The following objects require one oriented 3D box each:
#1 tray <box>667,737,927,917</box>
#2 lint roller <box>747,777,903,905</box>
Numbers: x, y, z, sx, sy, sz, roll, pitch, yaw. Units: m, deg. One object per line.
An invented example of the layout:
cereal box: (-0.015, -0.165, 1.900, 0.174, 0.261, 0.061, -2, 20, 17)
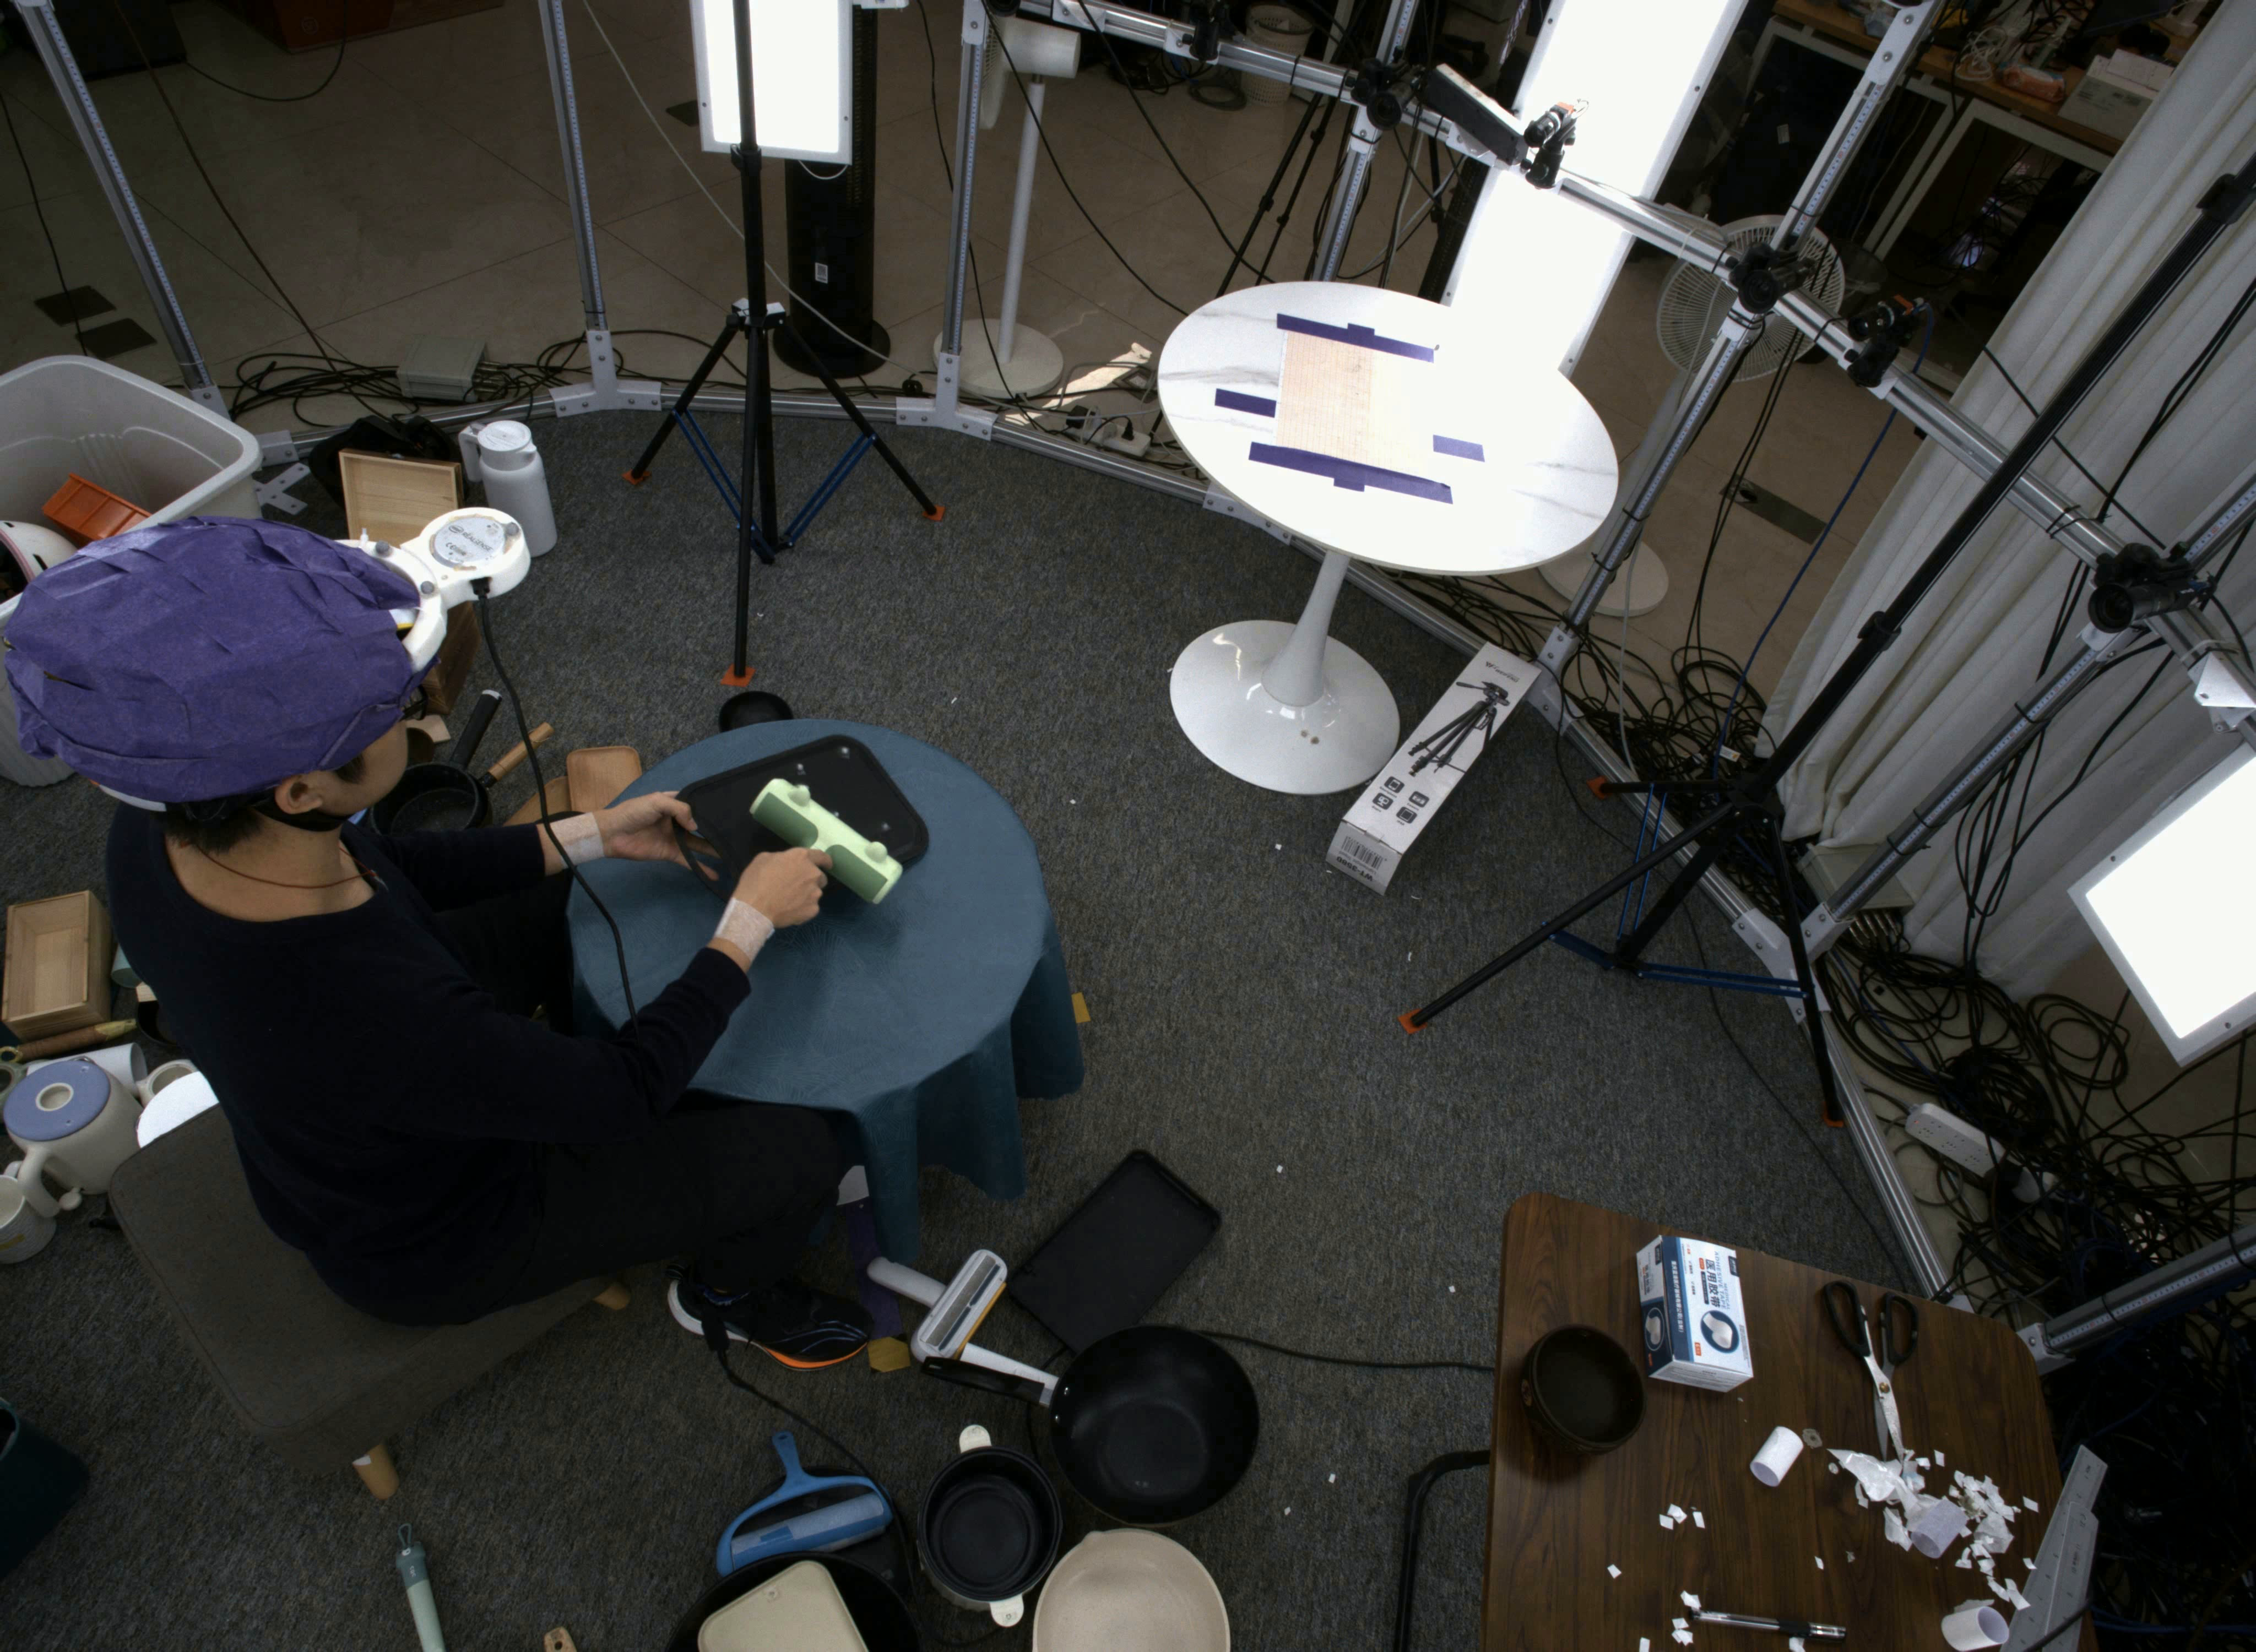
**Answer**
tray: (-0.417, -0.005, 1.640, 0.328, 0.010, 0.209, -25, 73, -46)
lint roller: (-0.370, 0.027, 1.533, 0.200, 0.082, 0.181, 36, 19, -9)
